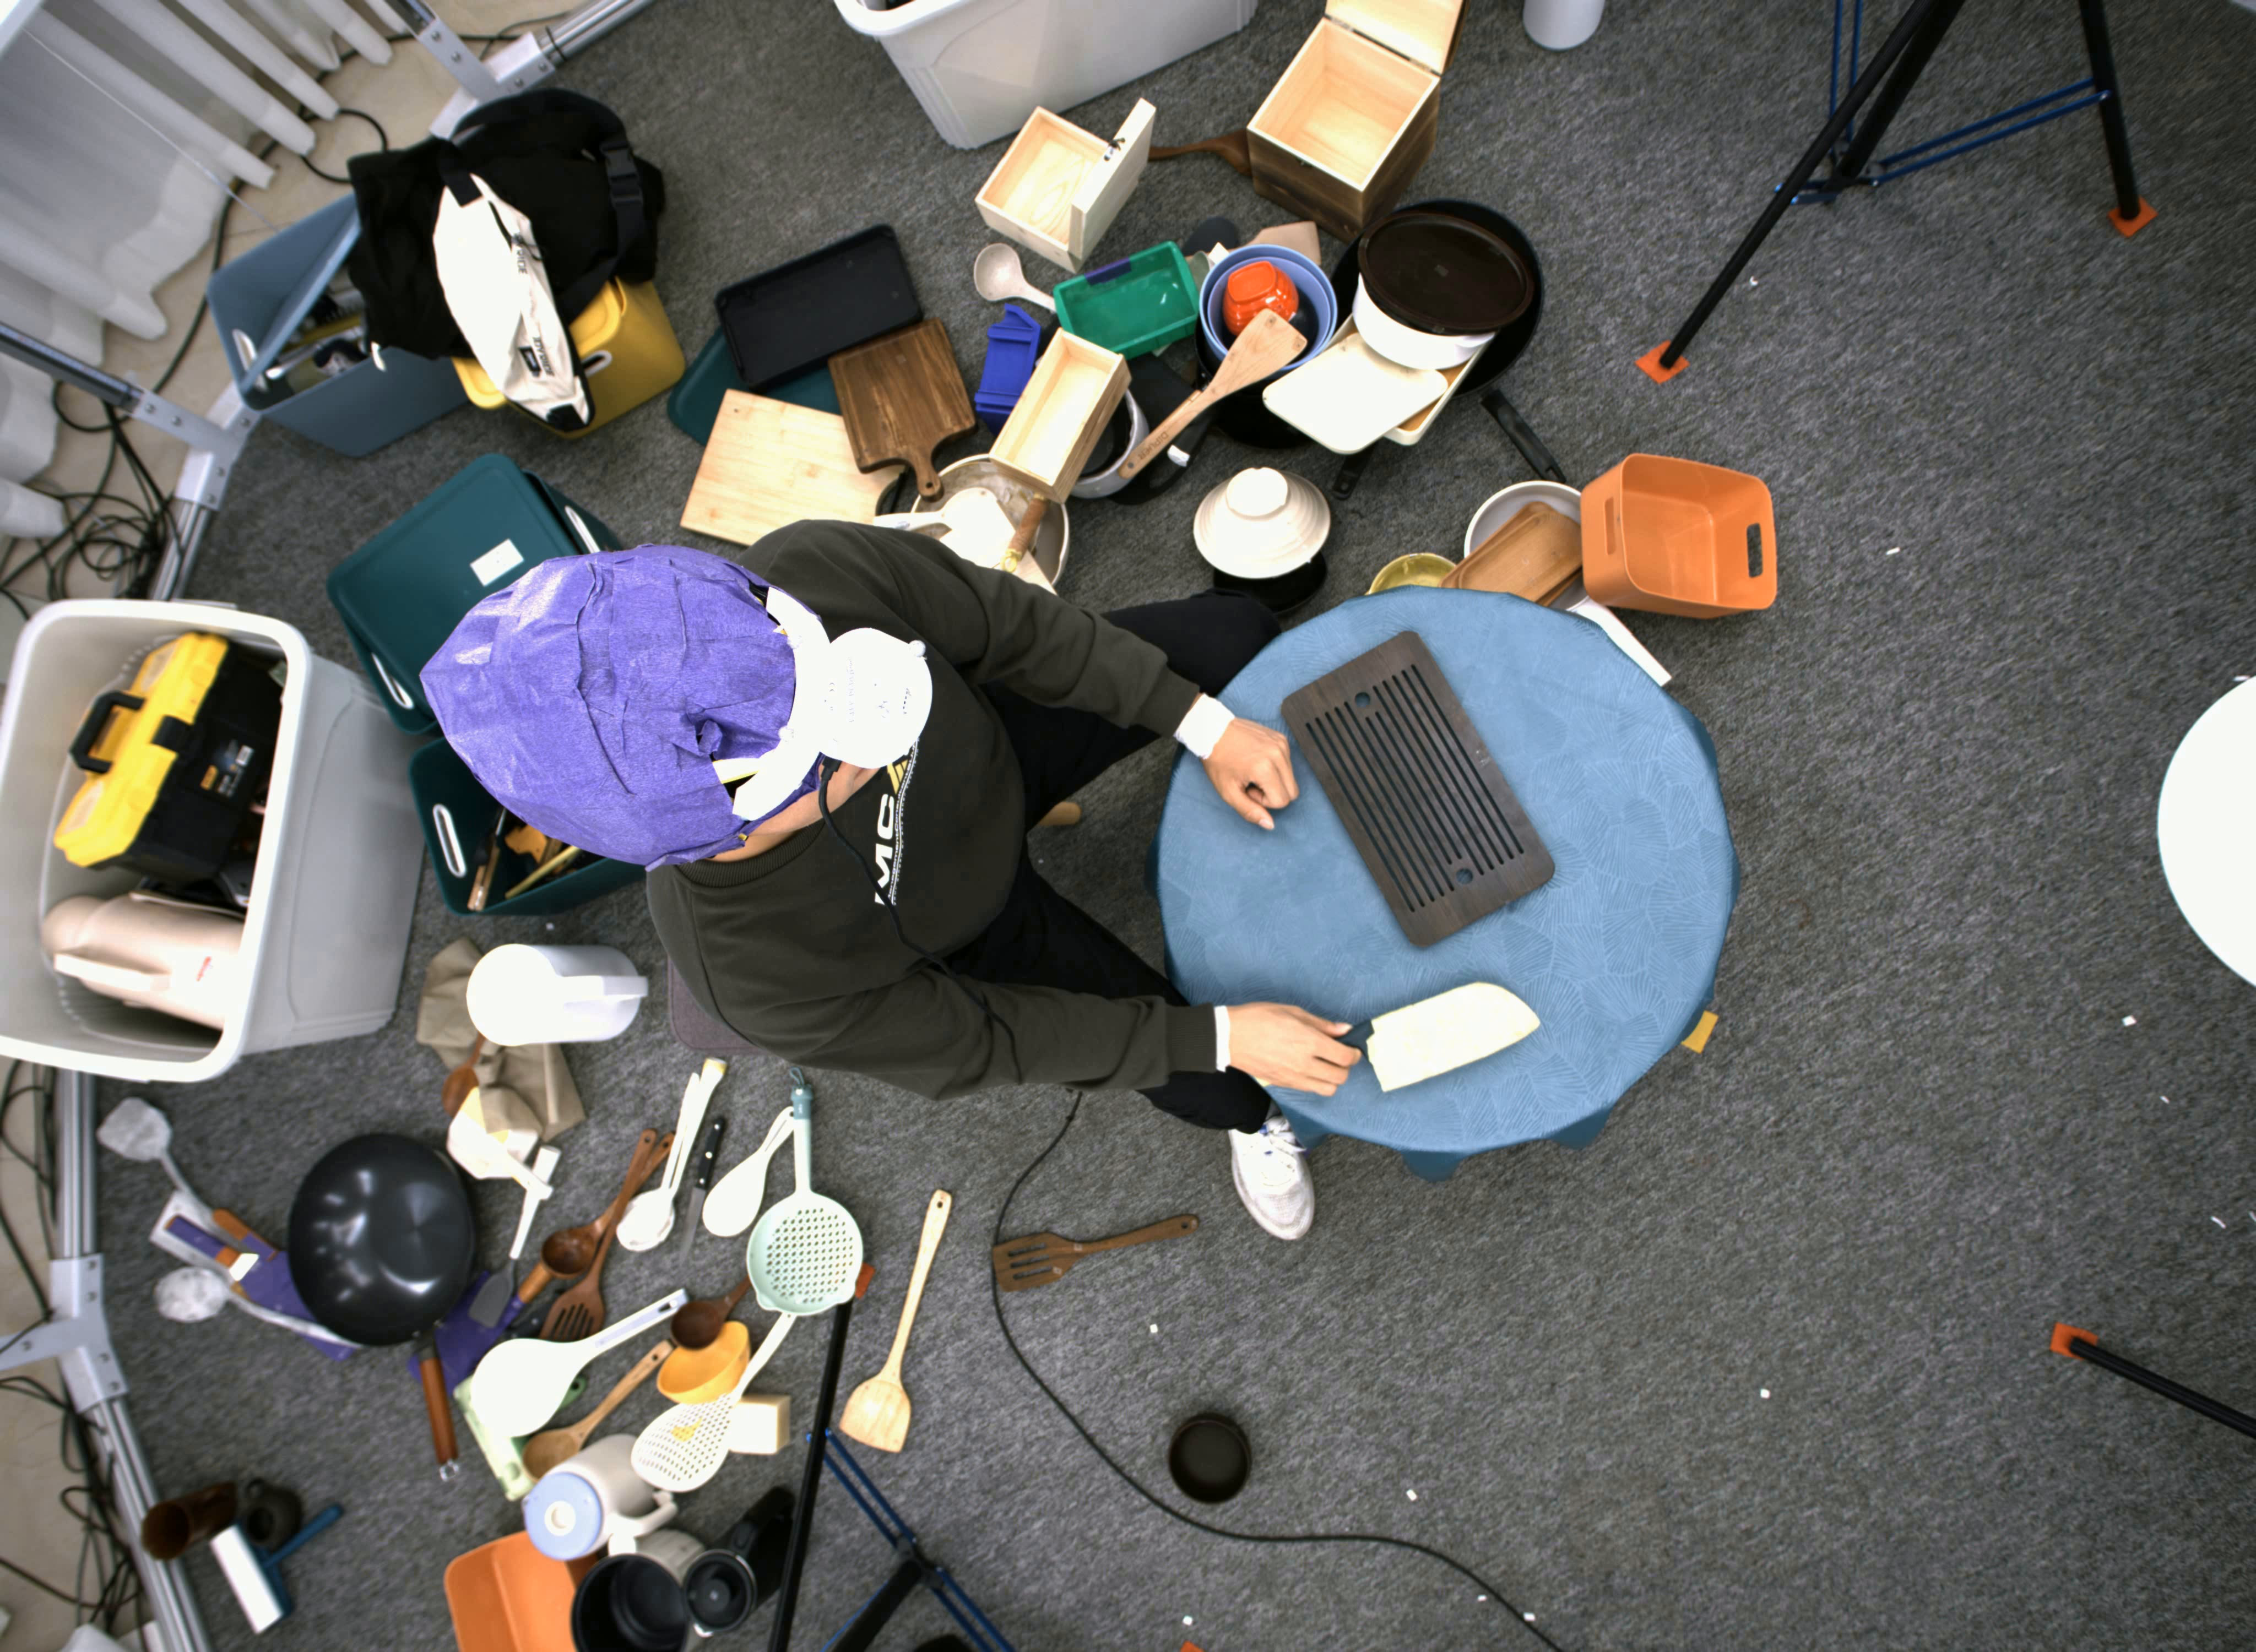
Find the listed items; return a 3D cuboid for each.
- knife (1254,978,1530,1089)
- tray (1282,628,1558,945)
[{"bbox_3d":[0.270,0.223,1.414,0.291,0.027,0.080,-19,76,12],"label":"knife"},{"bbox_3d":[0.305,-0.045,1.450,0.171,0.018,0.304,-29,82,8],"label":"tray"}]
